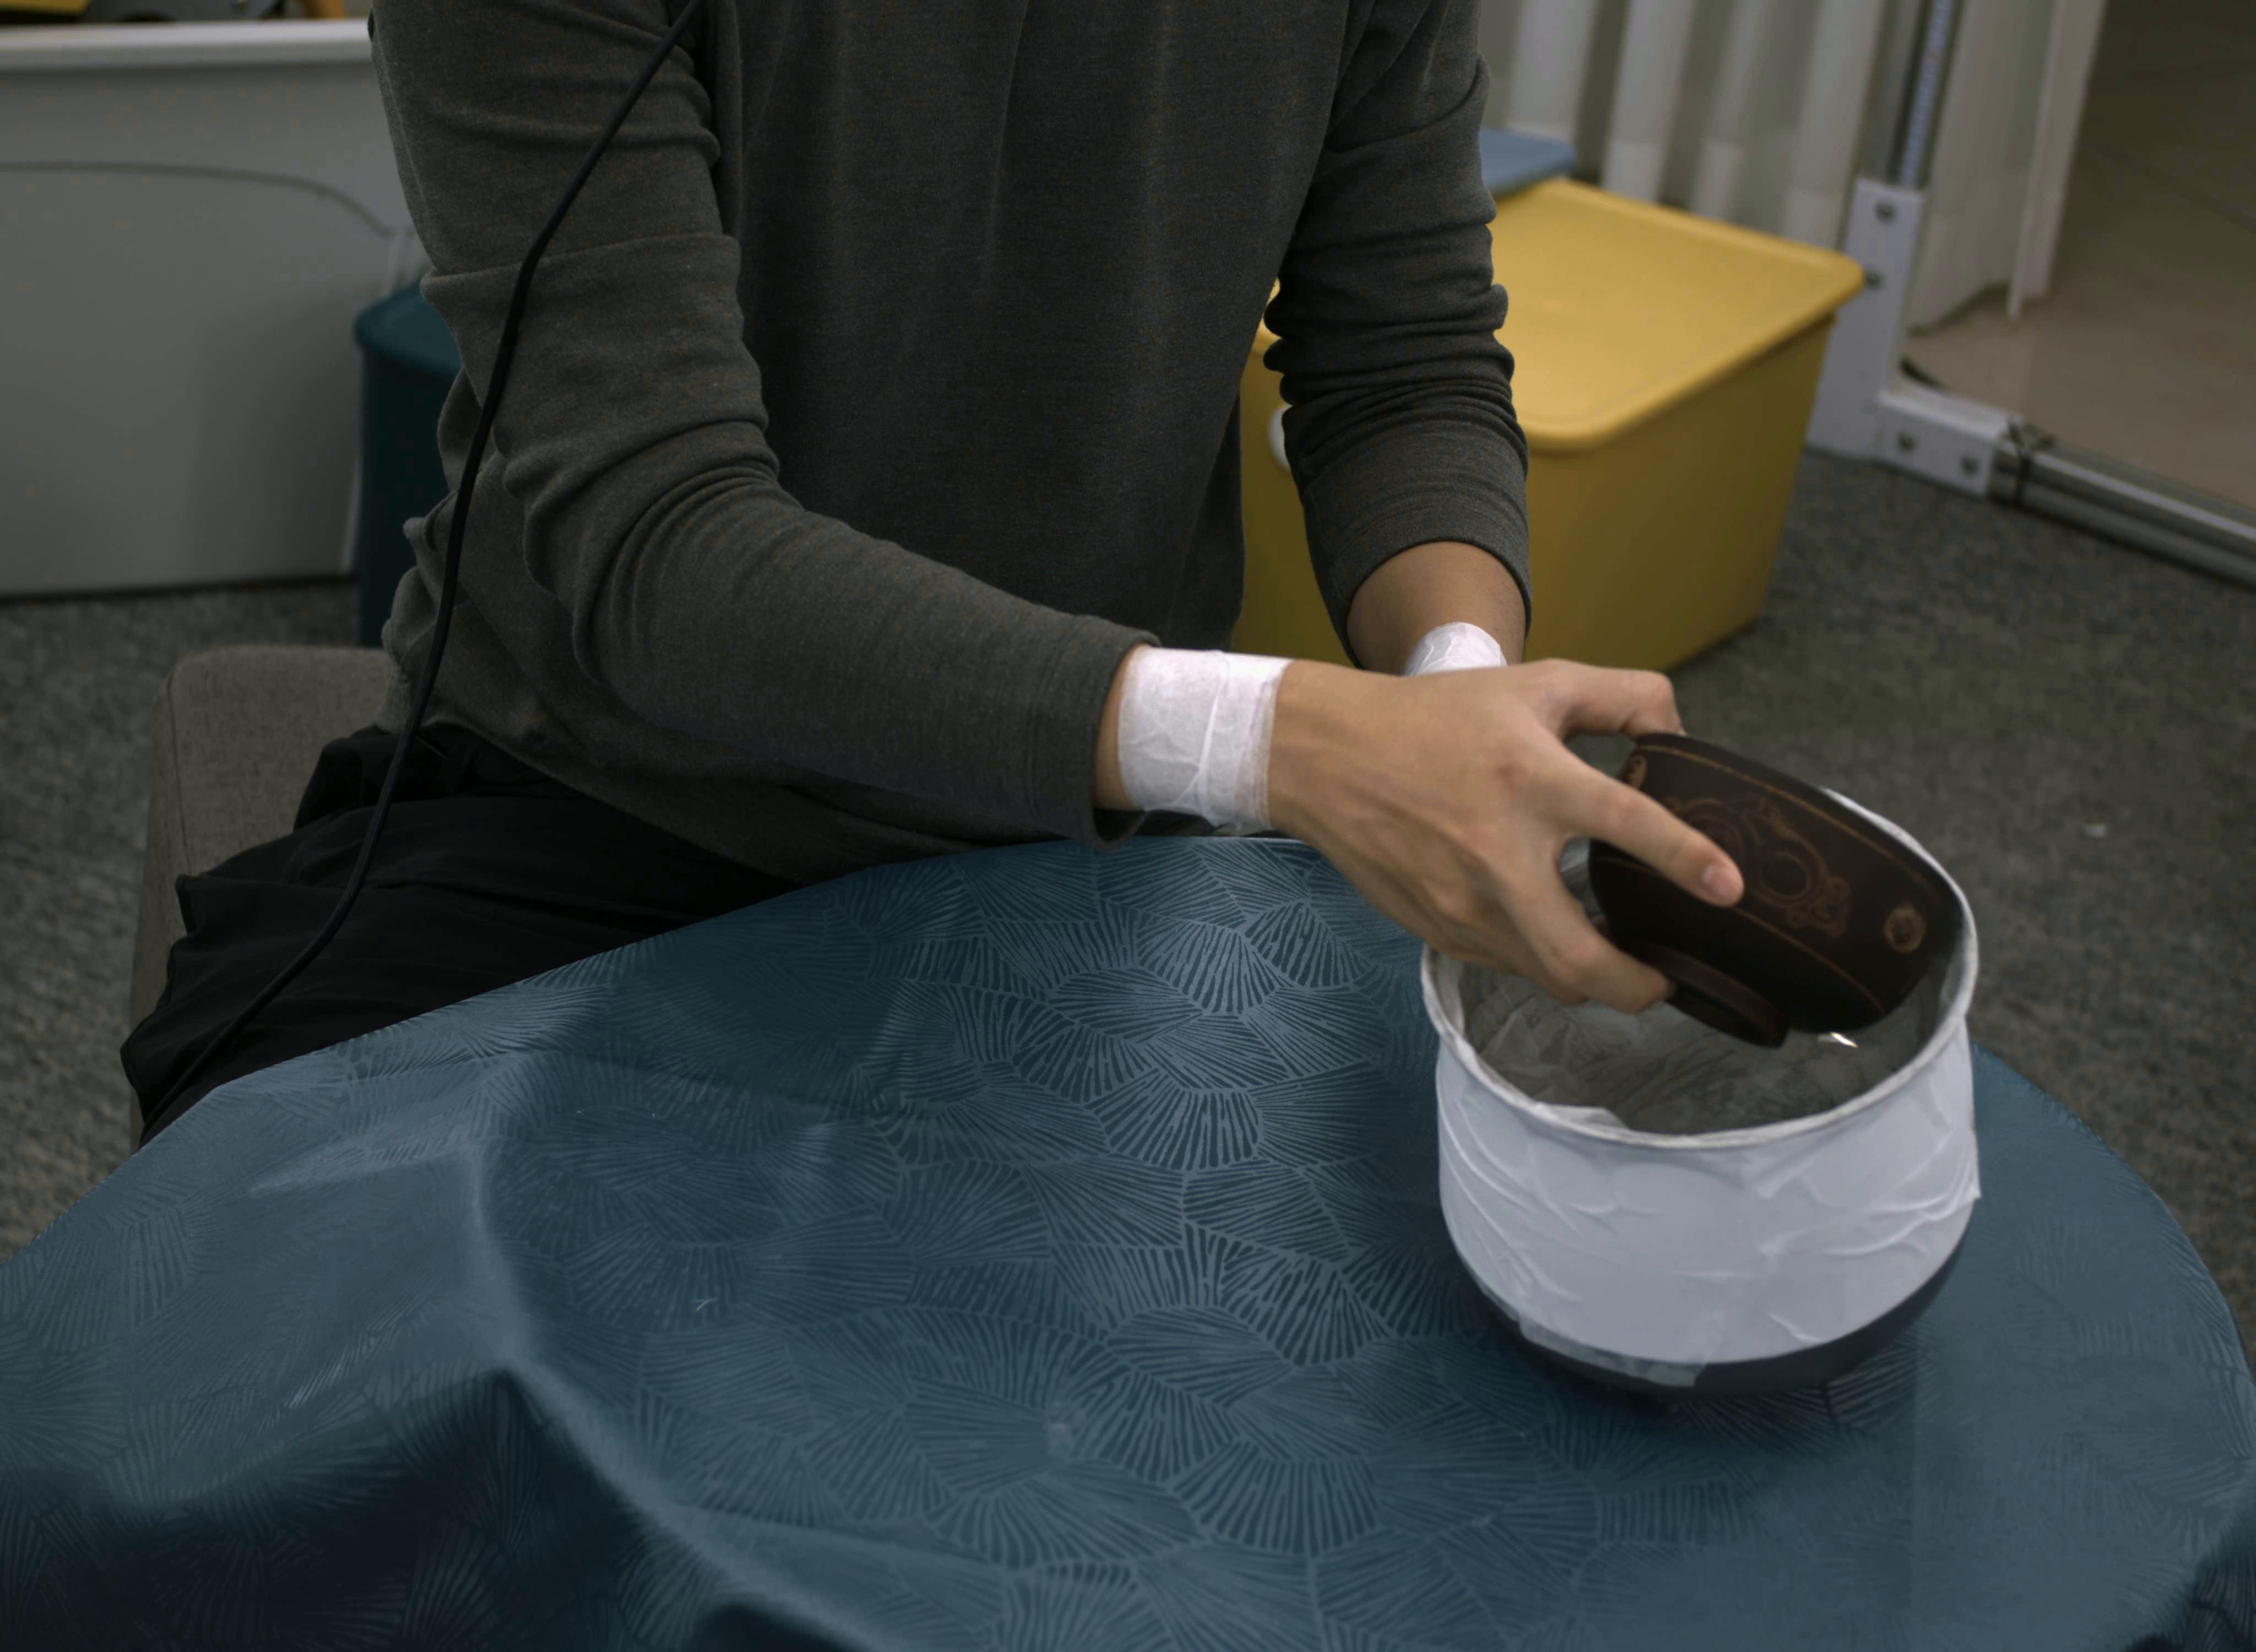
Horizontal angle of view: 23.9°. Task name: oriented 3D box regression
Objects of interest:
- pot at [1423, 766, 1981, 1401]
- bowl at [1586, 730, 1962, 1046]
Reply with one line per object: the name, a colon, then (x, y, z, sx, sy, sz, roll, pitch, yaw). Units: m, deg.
pot: (0.174, 0.073, 1.749, 0.178, 0.136, 0.236, -22, 41, -17)
bowl: (0.197, 0.027, 1.680, 0.118, 0.070, 0.118, 26, -9, 4)
